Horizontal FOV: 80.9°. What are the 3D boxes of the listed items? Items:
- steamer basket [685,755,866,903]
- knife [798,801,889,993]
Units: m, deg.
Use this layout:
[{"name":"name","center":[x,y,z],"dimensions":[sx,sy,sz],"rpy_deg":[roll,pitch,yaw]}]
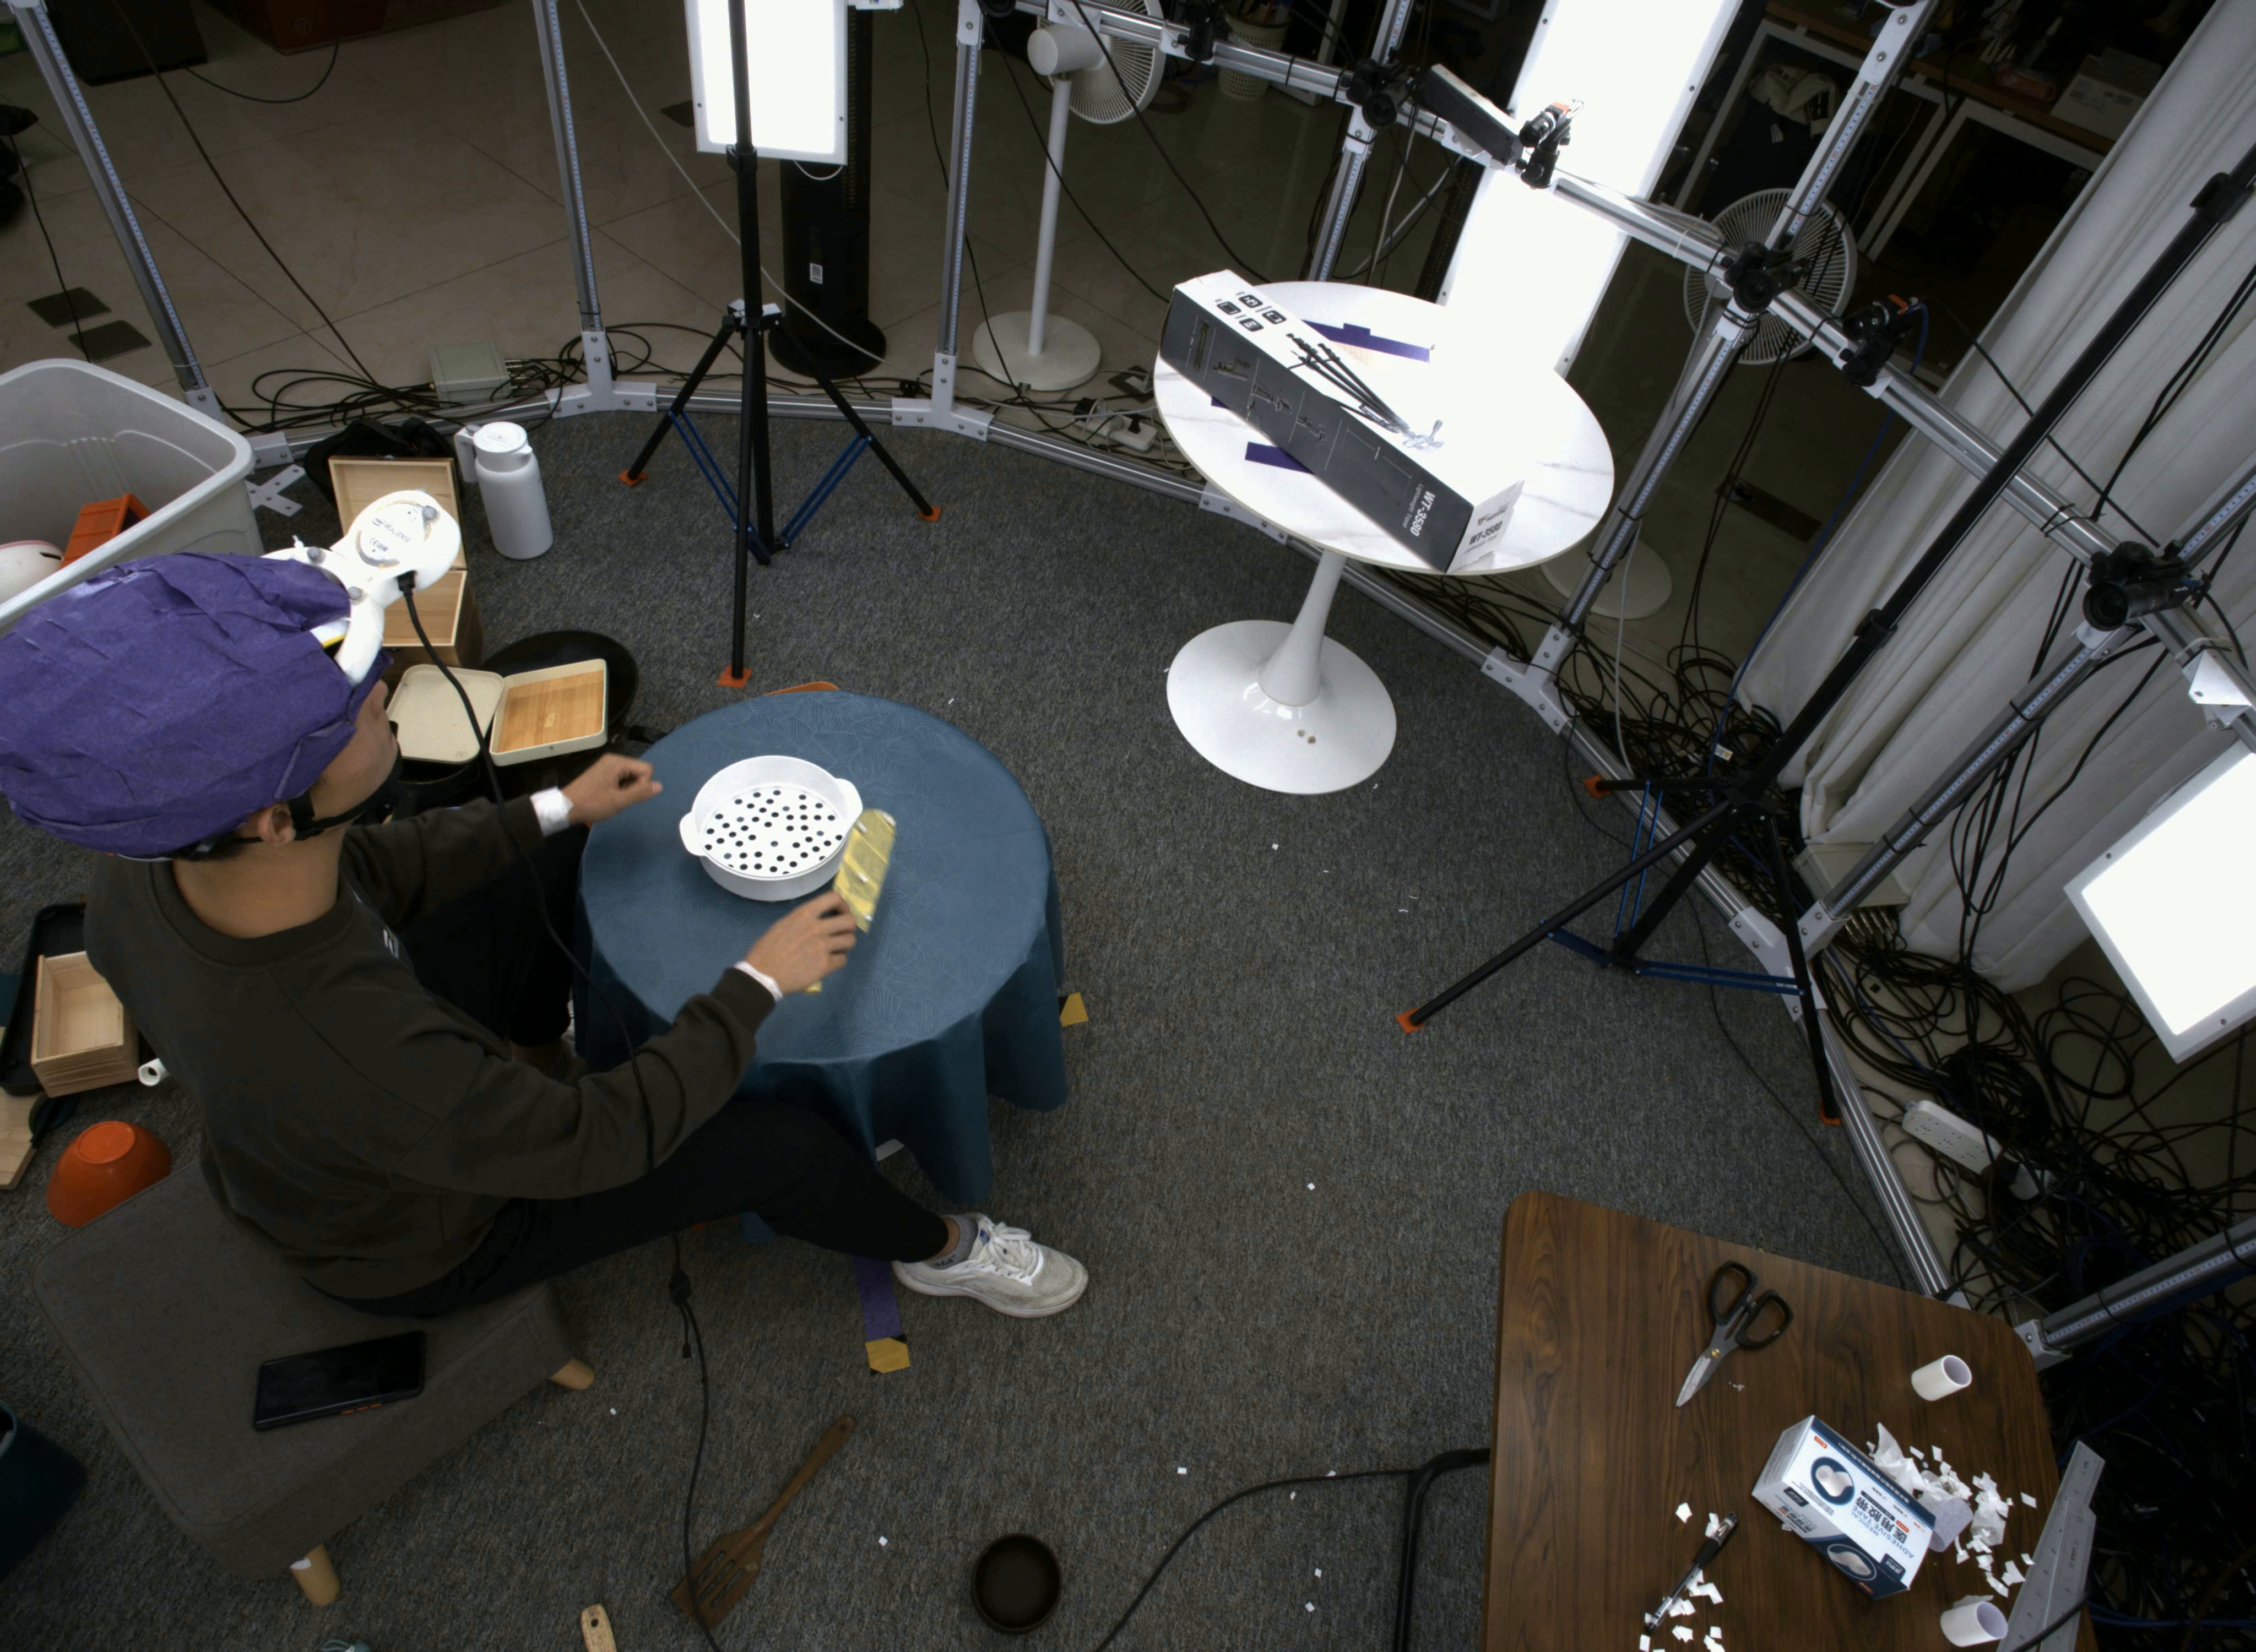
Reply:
[{"name":"steamer basket","center":[-0.454,0.002,1.682],"dimensions":[0.231,0.071,0.197],"rpy_deg":[-15,58,-23]},{"name":"knife","center":[-0.338,0.082,1.567],"dimensions":[0.026,0.084,0.285],"rpy_deg":[-11,46,28]}]
